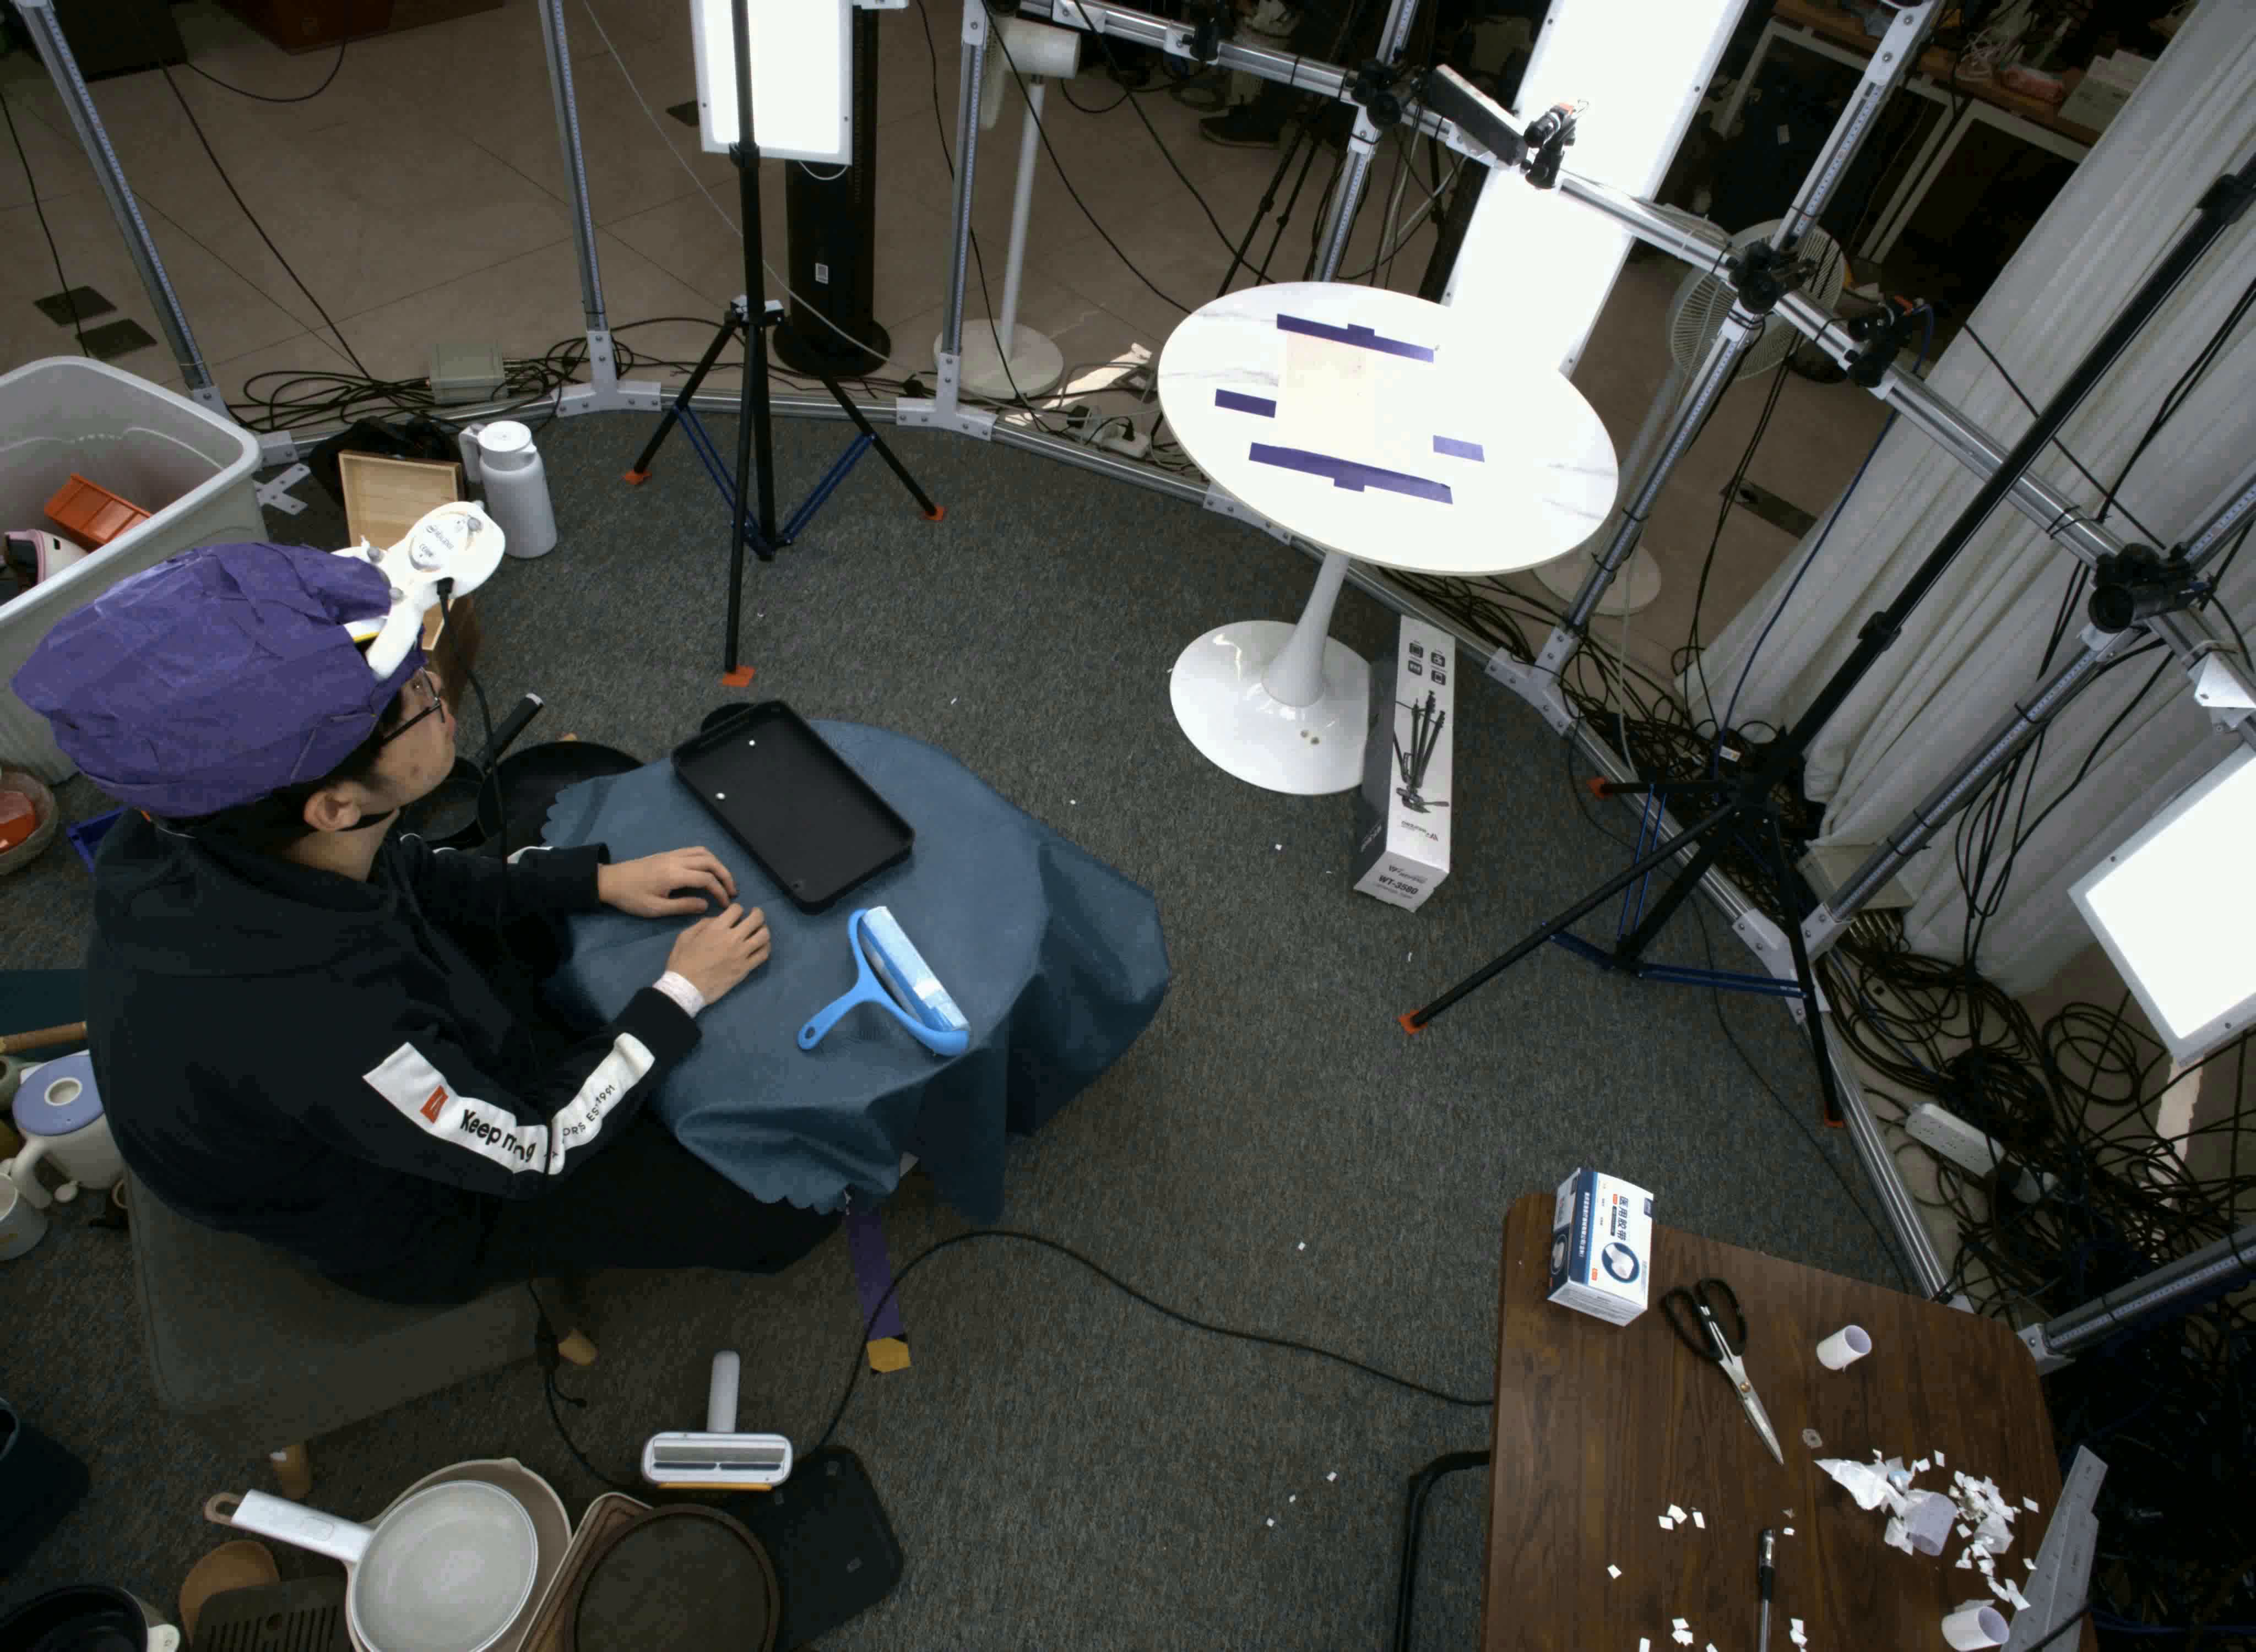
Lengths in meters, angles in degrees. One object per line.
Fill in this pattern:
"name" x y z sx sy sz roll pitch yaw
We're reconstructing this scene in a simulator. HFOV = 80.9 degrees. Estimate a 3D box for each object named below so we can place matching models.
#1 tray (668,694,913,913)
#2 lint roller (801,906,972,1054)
"tray" -0.451 -0.036 1.727 0.311 0.038 0.184 42 56 15
"lint roller" -0.312 0.209 1.569 0.181 0.069 0.224 -29 68 -32
